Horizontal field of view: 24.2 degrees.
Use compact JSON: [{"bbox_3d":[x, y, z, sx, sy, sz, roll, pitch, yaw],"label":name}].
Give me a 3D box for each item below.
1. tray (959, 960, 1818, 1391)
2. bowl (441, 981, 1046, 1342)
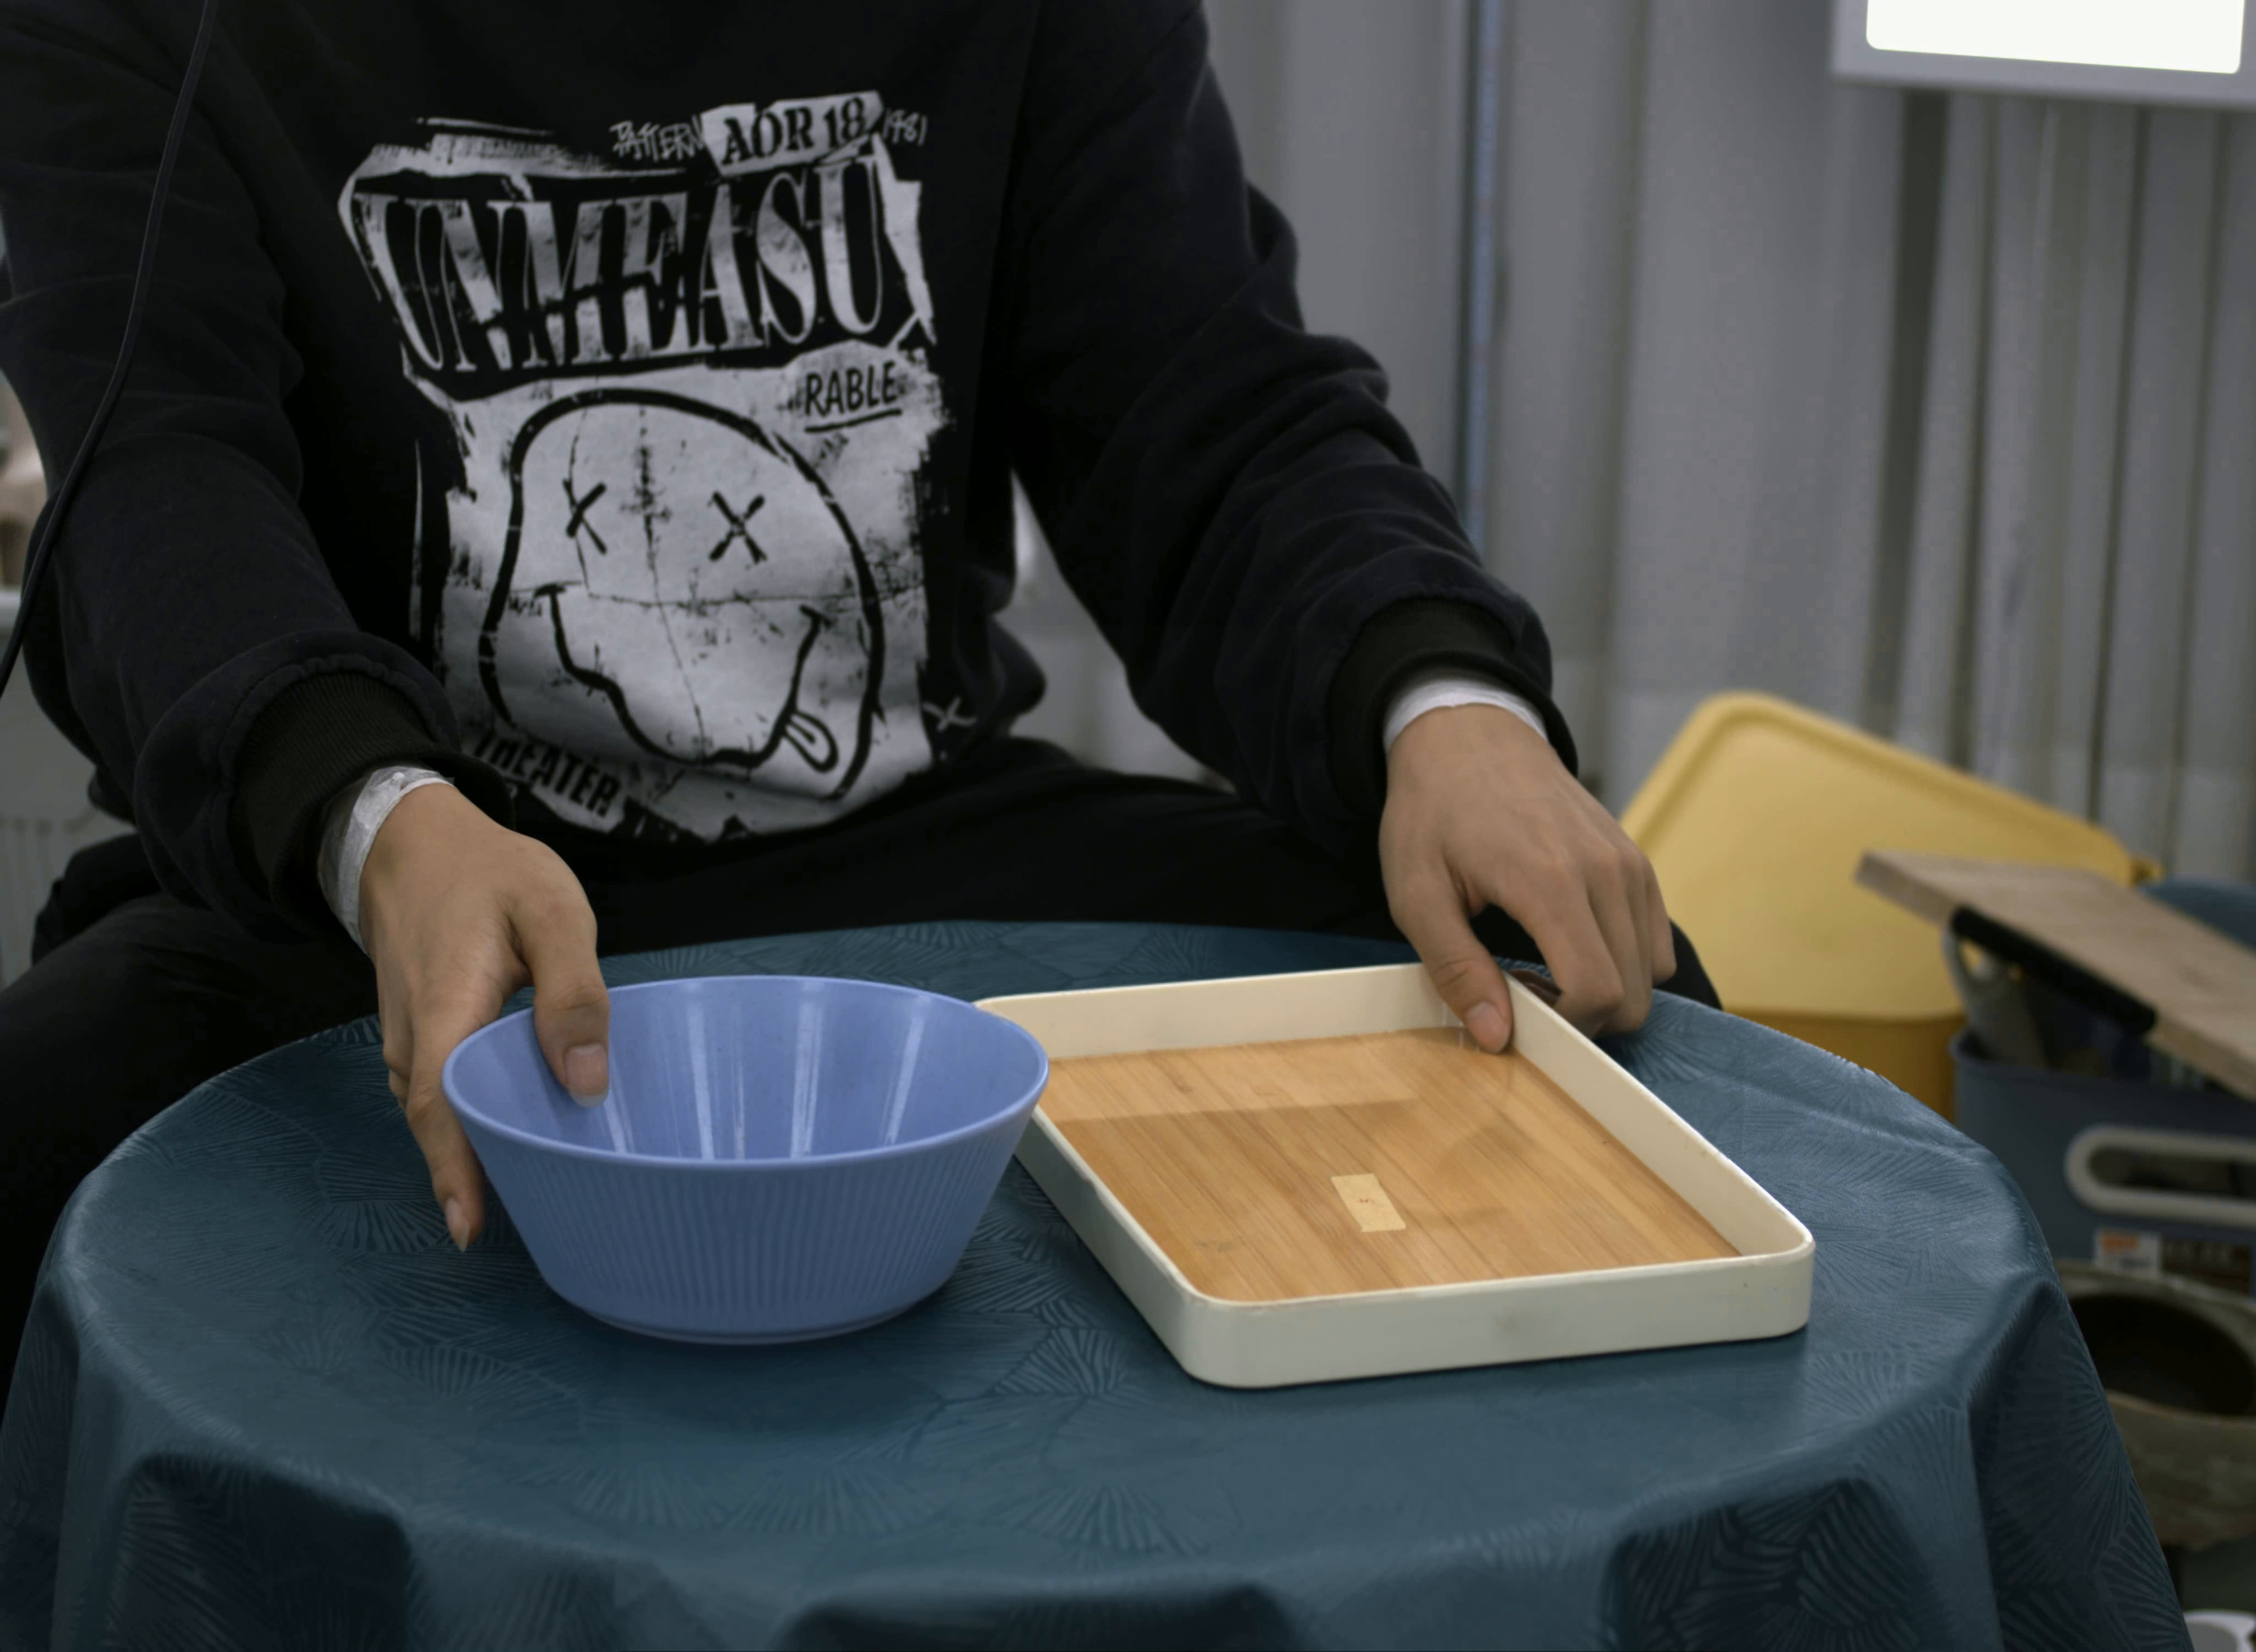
[{"bbox_3d":[0.072,0.102,1.619,0.192,0.027,0.297,-4,17,-15],"label":"tray"},{"bbox_3d":[-0.112,0.100,1.535,0.175,0.071,0.175,2,15,0],"label":"bowl"}]
